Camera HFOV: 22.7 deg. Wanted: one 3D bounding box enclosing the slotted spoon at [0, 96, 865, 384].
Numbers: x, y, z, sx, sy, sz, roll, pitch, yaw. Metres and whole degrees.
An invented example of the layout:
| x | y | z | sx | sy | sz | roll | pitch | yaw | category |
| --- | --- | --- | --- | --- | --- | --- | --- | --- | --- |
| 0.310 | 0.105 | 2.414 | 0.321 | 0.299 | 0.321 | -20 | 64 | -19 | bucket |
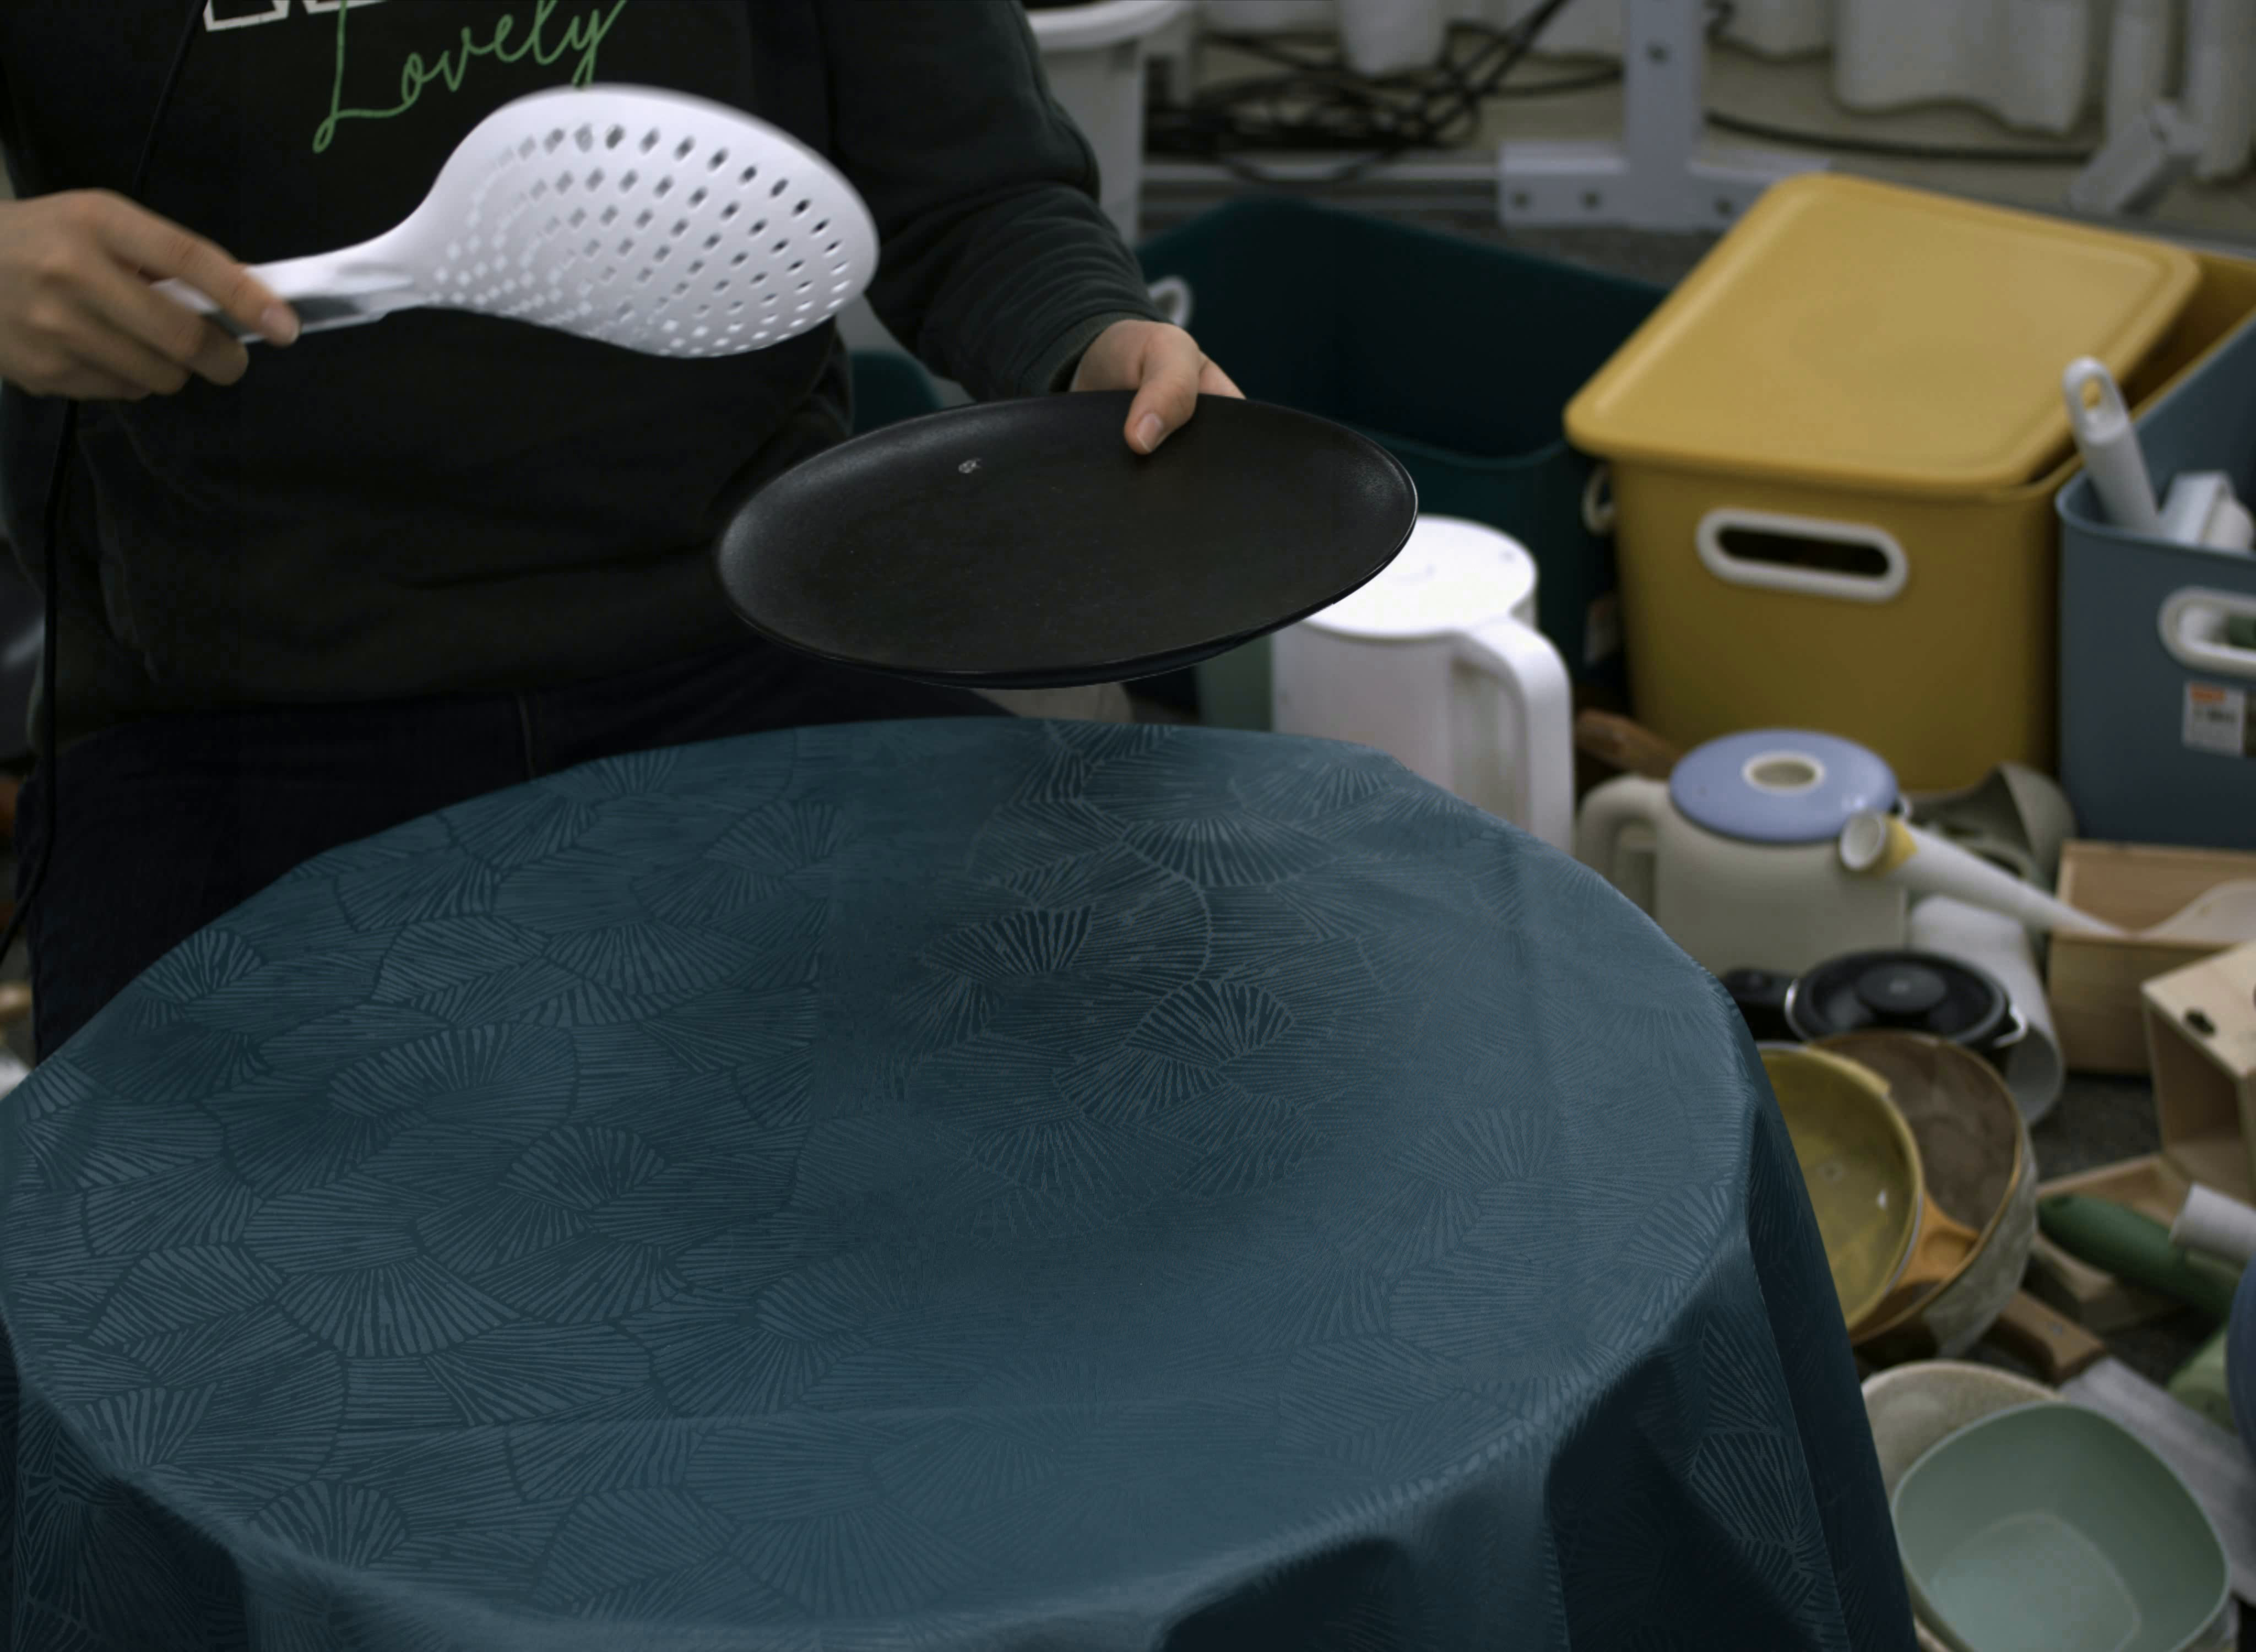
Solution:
| x | y | z | sx | sy | sz | roll | pitch | yaw | category |
| --- | --- | --- | --- | --- | --- | --- | --- | --- | --- |
| -0.242 | -0.179 | 1.856 | 0.346 | 0.135 | 0.046 | -1 | 64 | 35 | slotted spoon |

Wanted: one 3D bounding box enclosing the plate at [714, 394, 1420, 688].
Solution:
| x | y | z | sx | sy | sz | roll | pitch | yaw | category |
| --- | --- | --- | --- | --- | --- | --- | --- | --- | --- |
| -0.020 | -0.094 | 1.928 | 0.243 | 0.023 | 0.248 | -4 | 25 | 2 | plate |
